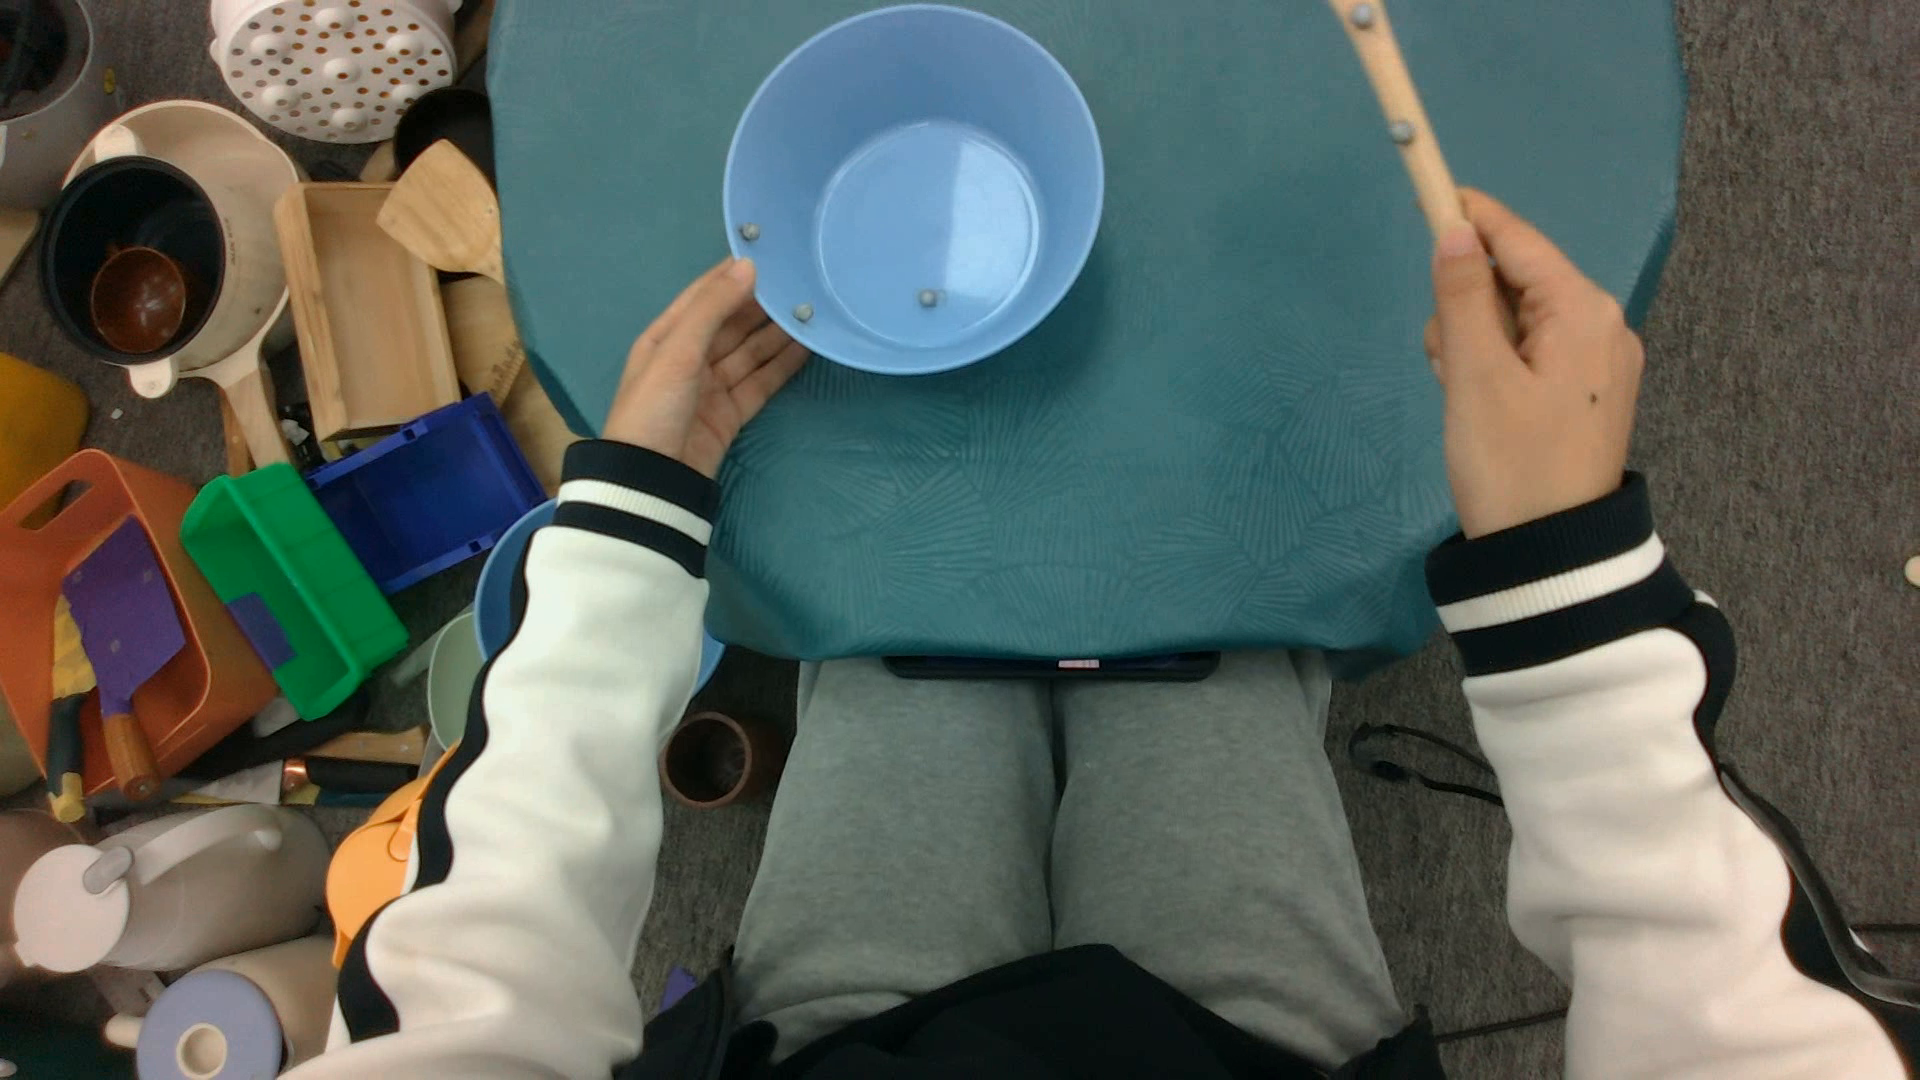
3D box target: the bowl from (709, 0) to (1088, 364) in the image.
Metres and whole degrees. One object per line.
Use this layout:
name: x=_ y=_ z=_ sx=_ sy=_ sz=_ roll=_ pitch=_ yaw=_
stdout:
bowl: x=-0.026 y=-0.162 z=0.661 sx=0.176 sy=0.070 sz=0.176 roll=-1 pitch=81 yaw=6

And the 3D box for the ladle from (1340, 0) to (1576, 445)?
ladle: x=0.154 y=-0.154 z=0.473 sx=0.072 sy=0.073 sz=0.255 roll=-23 pitch=75 yaw=26
